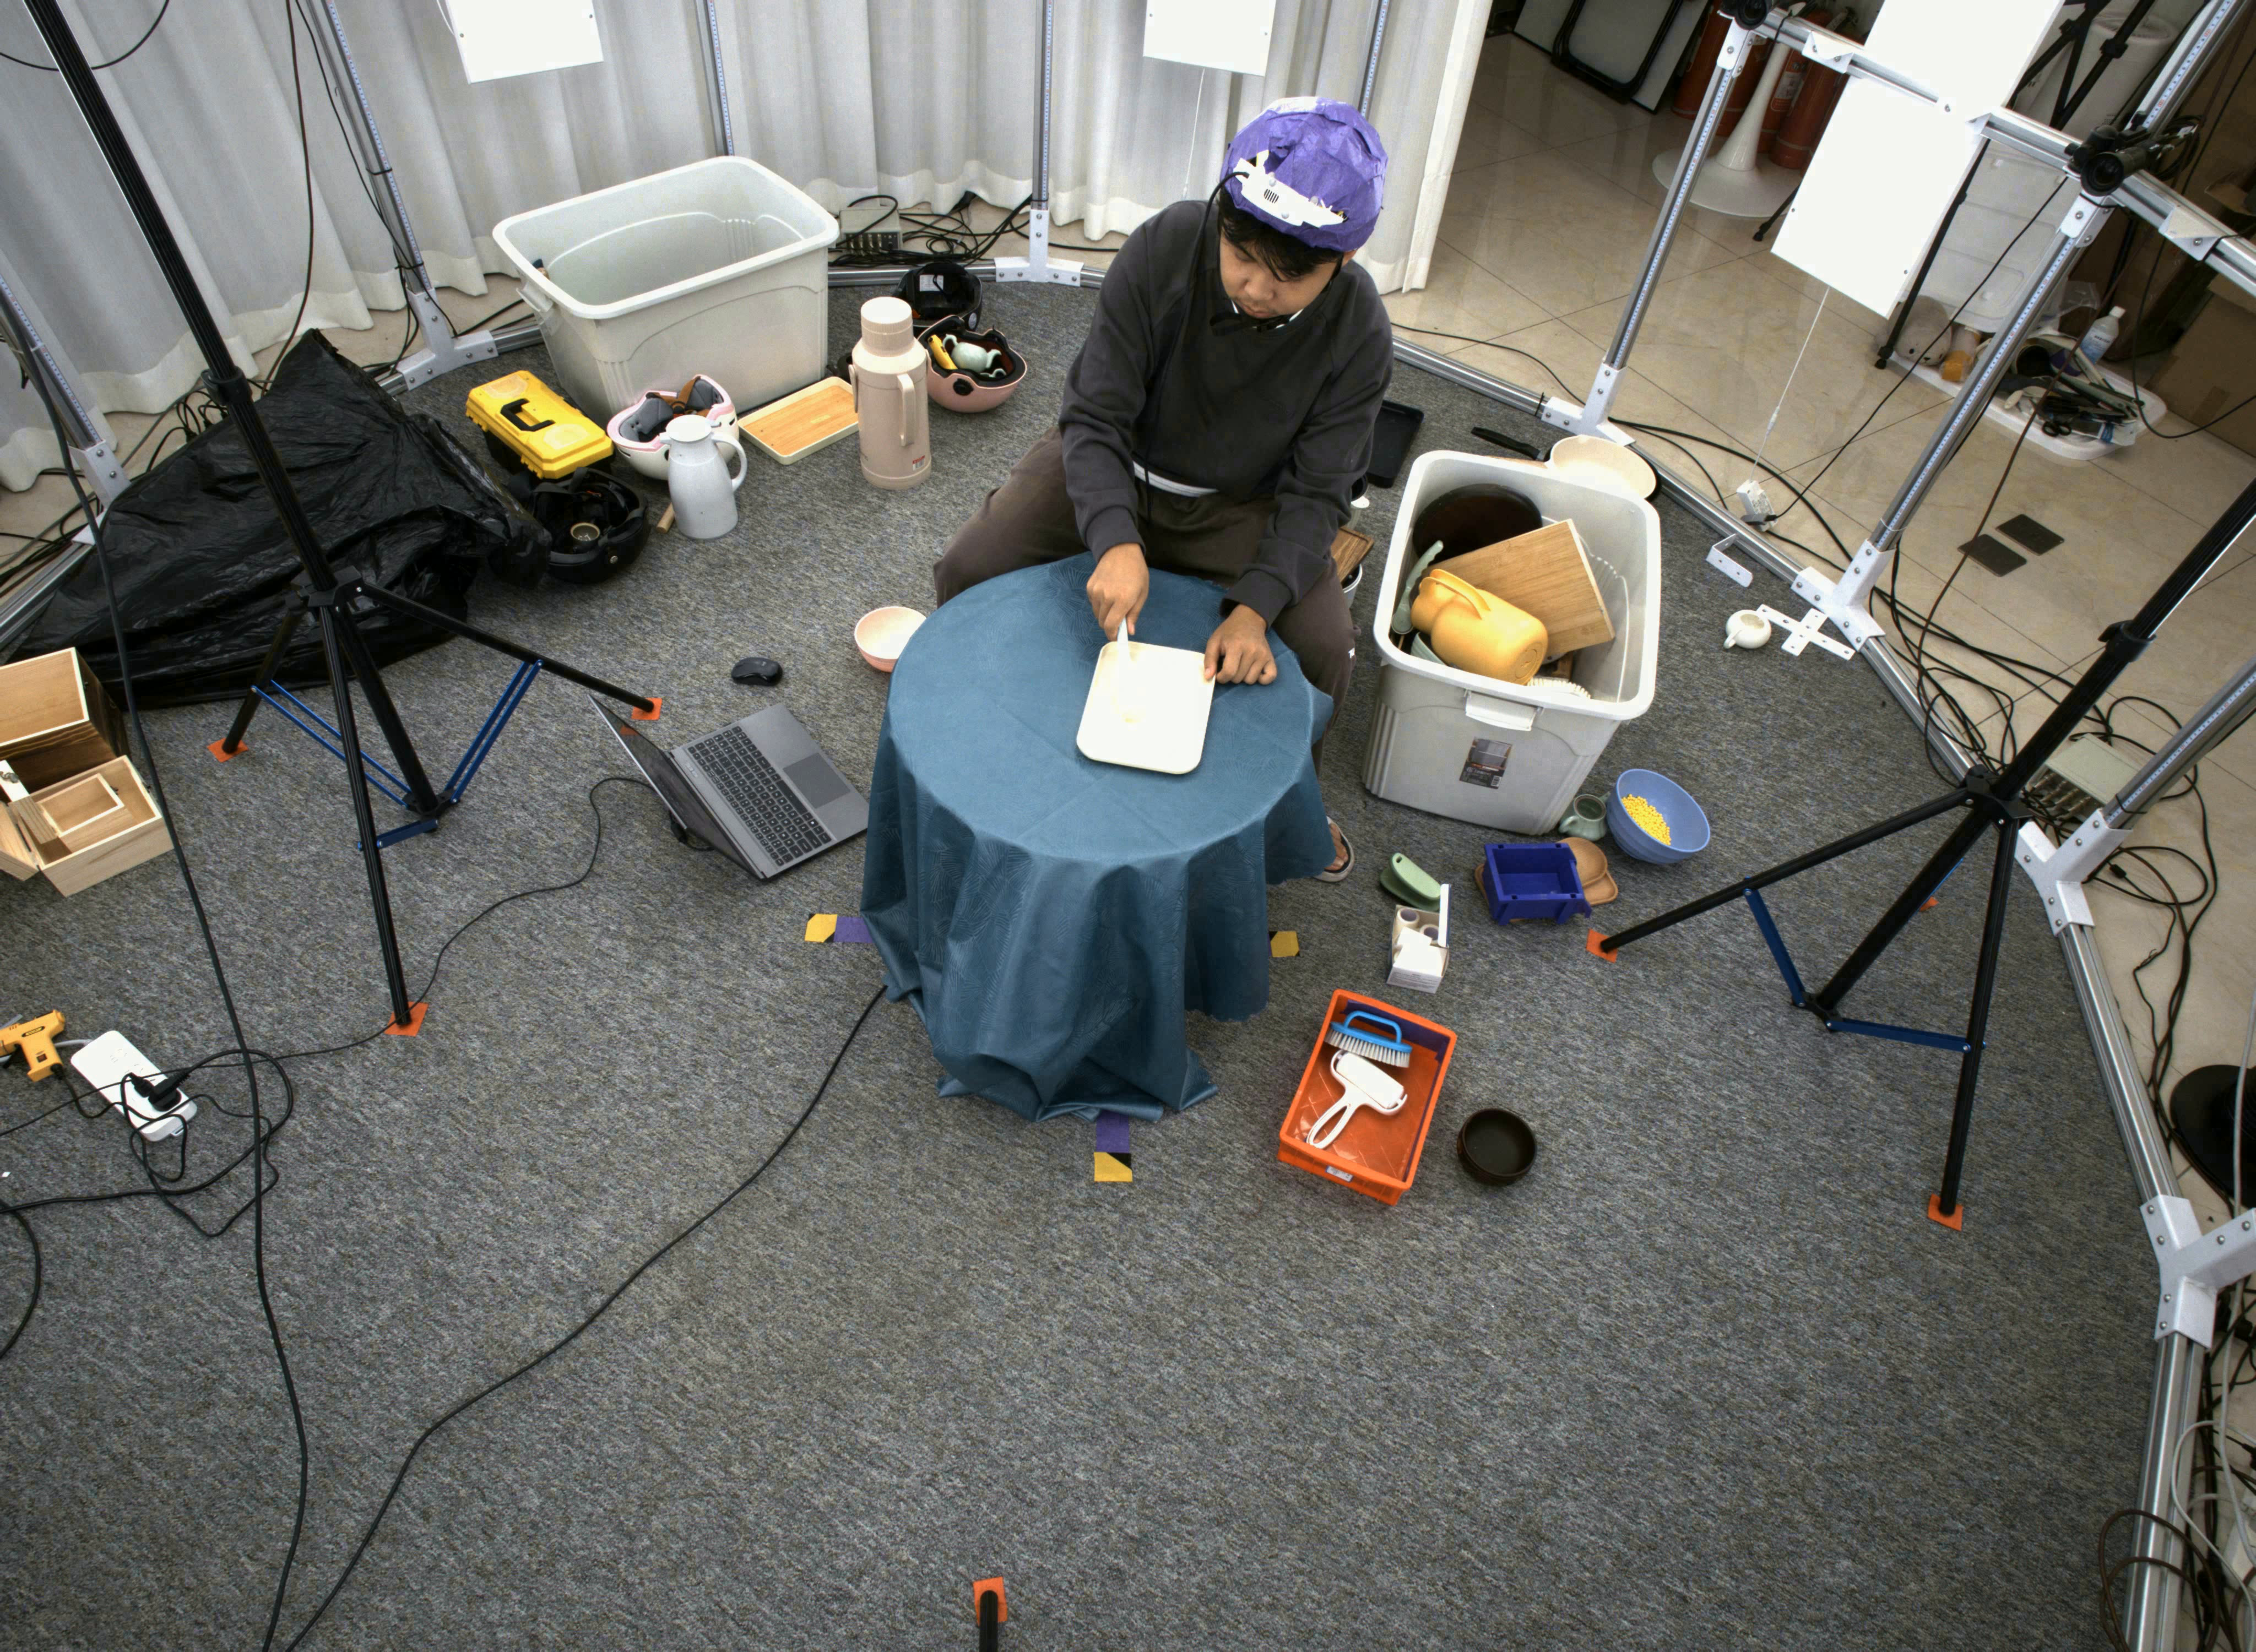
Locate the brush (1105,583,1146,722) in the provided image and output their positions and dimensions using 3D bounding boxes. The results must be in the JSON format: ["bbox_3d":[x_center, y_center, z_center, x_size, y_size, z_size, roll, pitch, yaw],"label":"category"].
[{"bbox_3d":[-0.010,-0.251,1.829,0.038,0.049,0.233,-4,64,-11],"label":"brush"}]

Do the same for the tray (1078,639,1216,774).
[{"bbox_3d":[0.029,-0.169,1.802,0.171,0.017,0.245,10,49,3],"label":"tray"}]
